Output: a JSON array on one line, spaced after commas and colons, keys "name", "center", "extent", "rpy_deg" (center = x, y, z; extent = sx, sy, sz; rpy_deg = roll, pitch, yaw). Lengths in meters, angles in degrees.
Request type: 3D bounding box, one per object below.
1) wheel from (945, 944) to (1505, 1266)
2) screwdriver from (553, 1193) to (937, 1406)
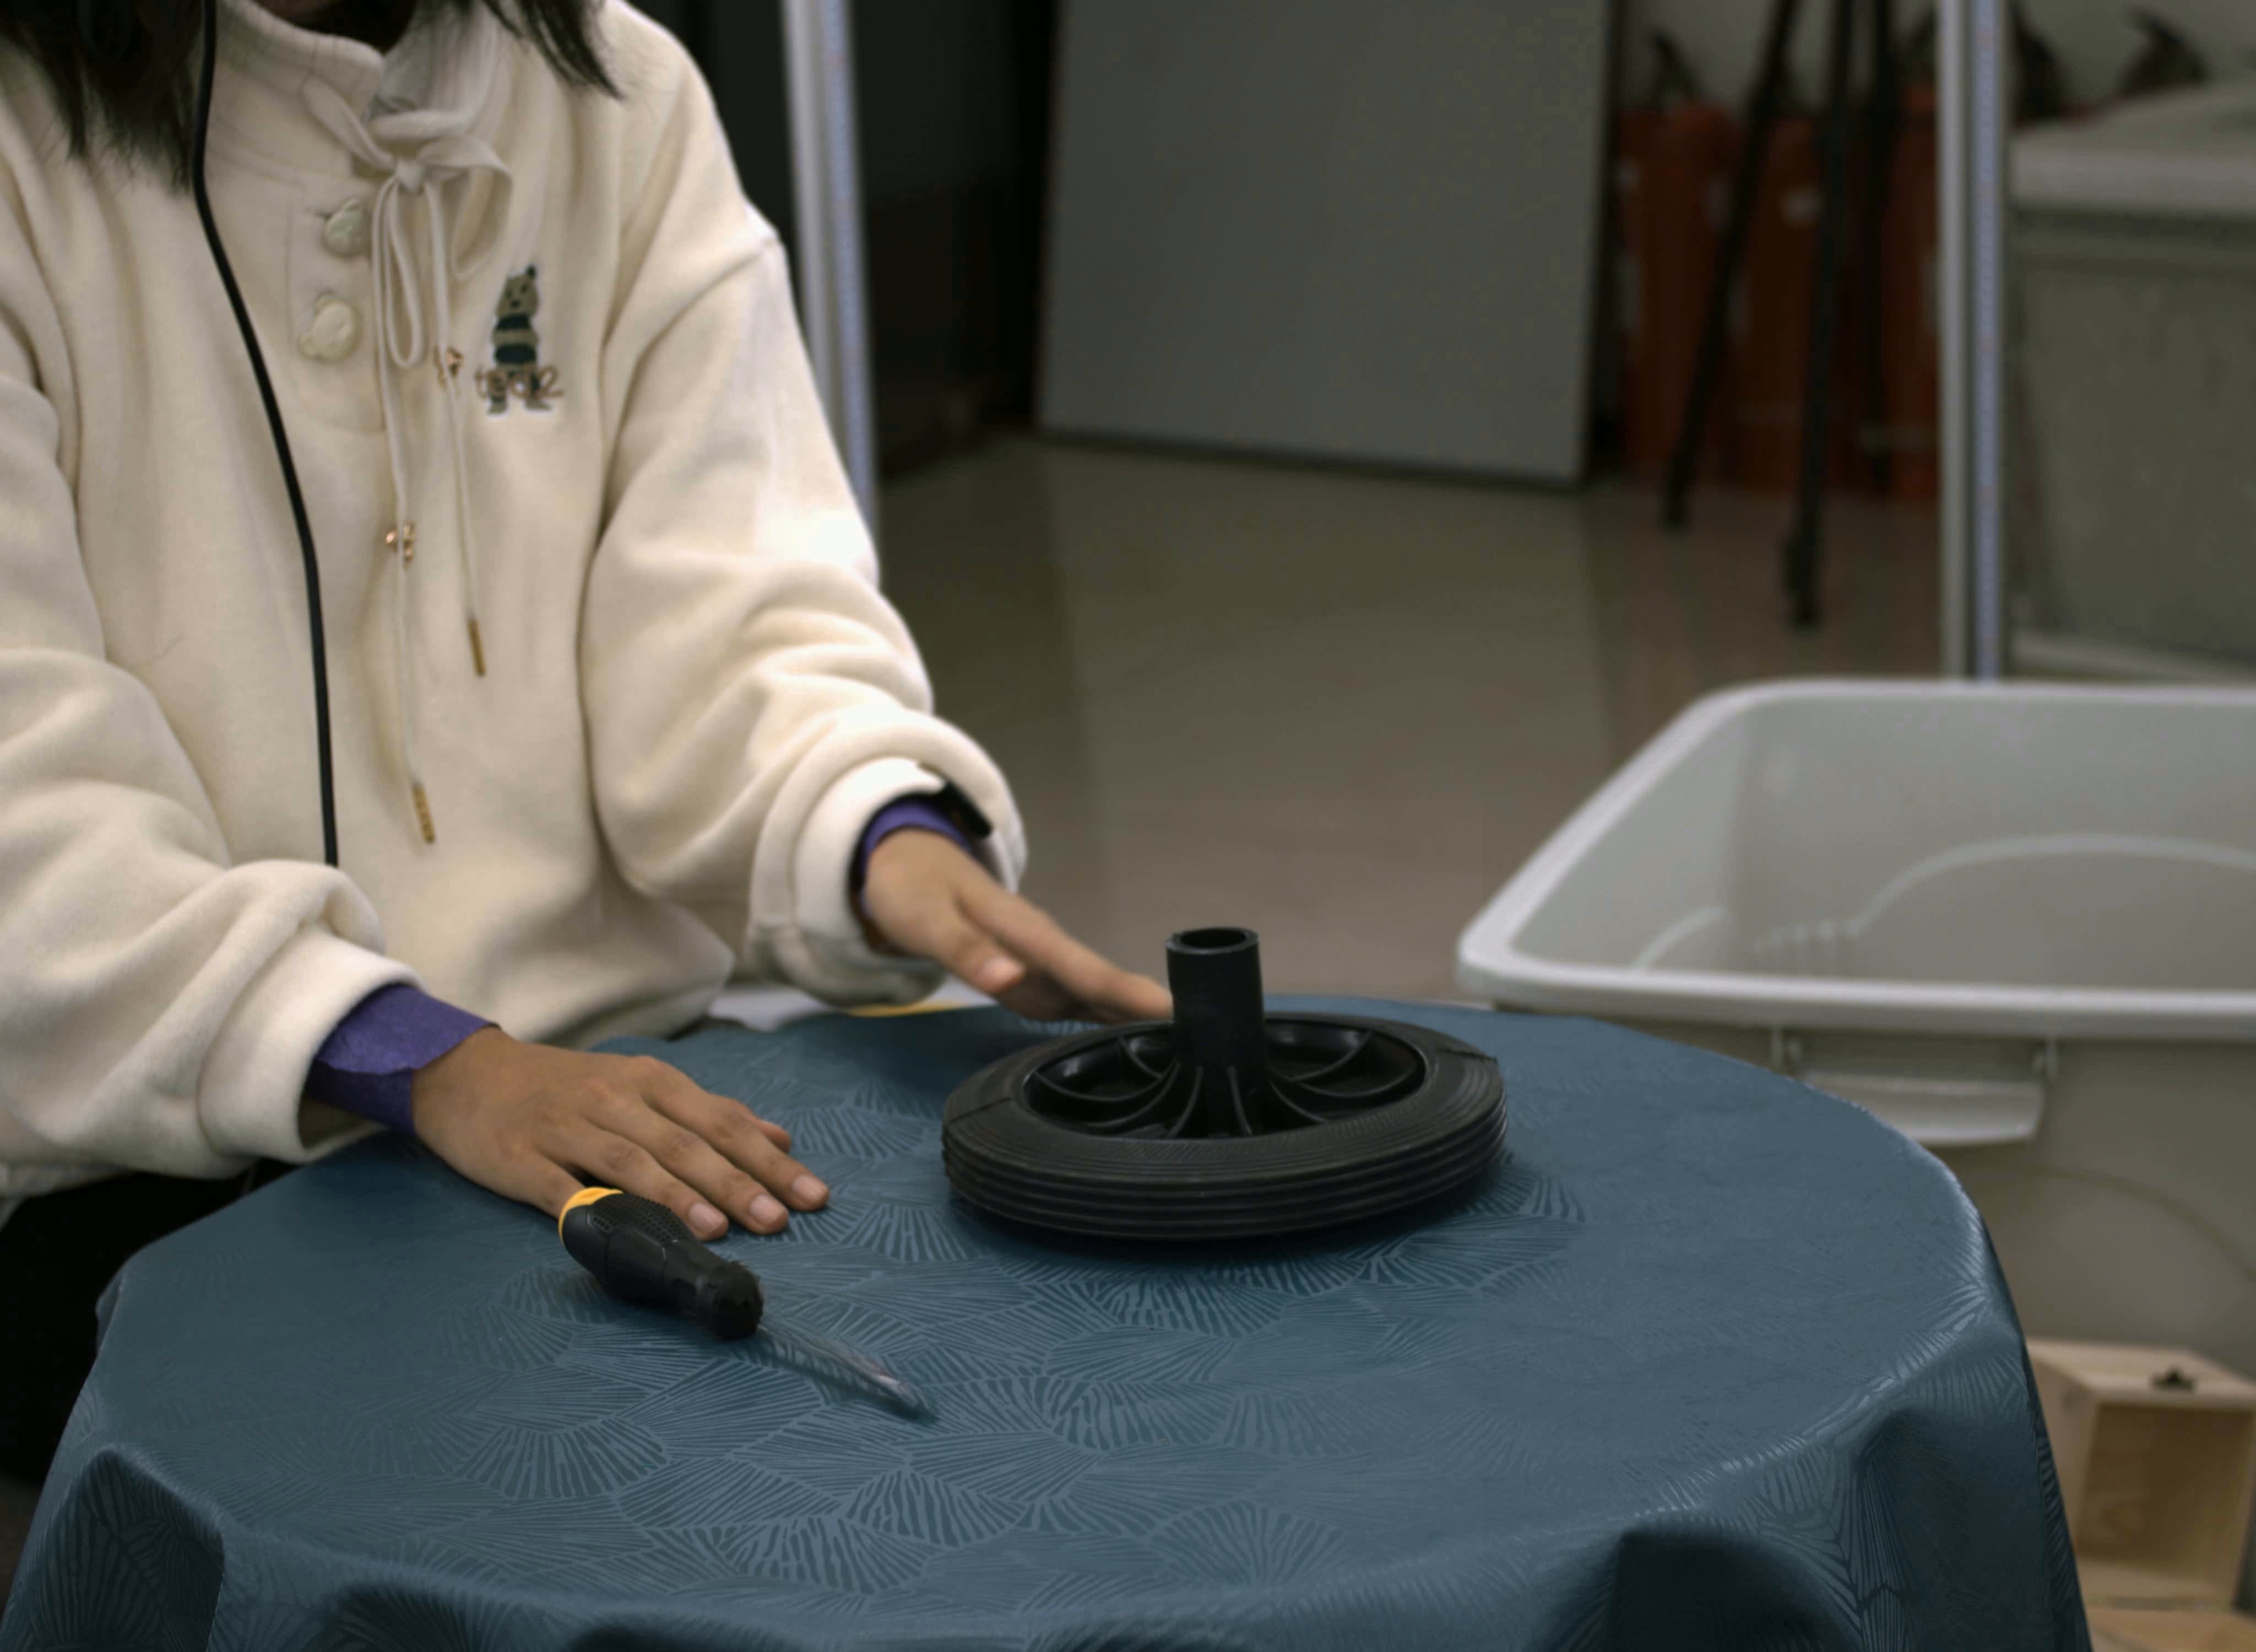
[{"name": "wheel", "center": [0.030, 0.081, 1.767], "extent": [0.188, 0.080, 0.187], "rpy_deg": [2, 18, 27]}, {"name": "screwdriver", "center": [-0.120, 0.148, 1.647], "extent": [0.031, 0.032, 0.200], "rpy_deg": [-12, 18, -32]}]
